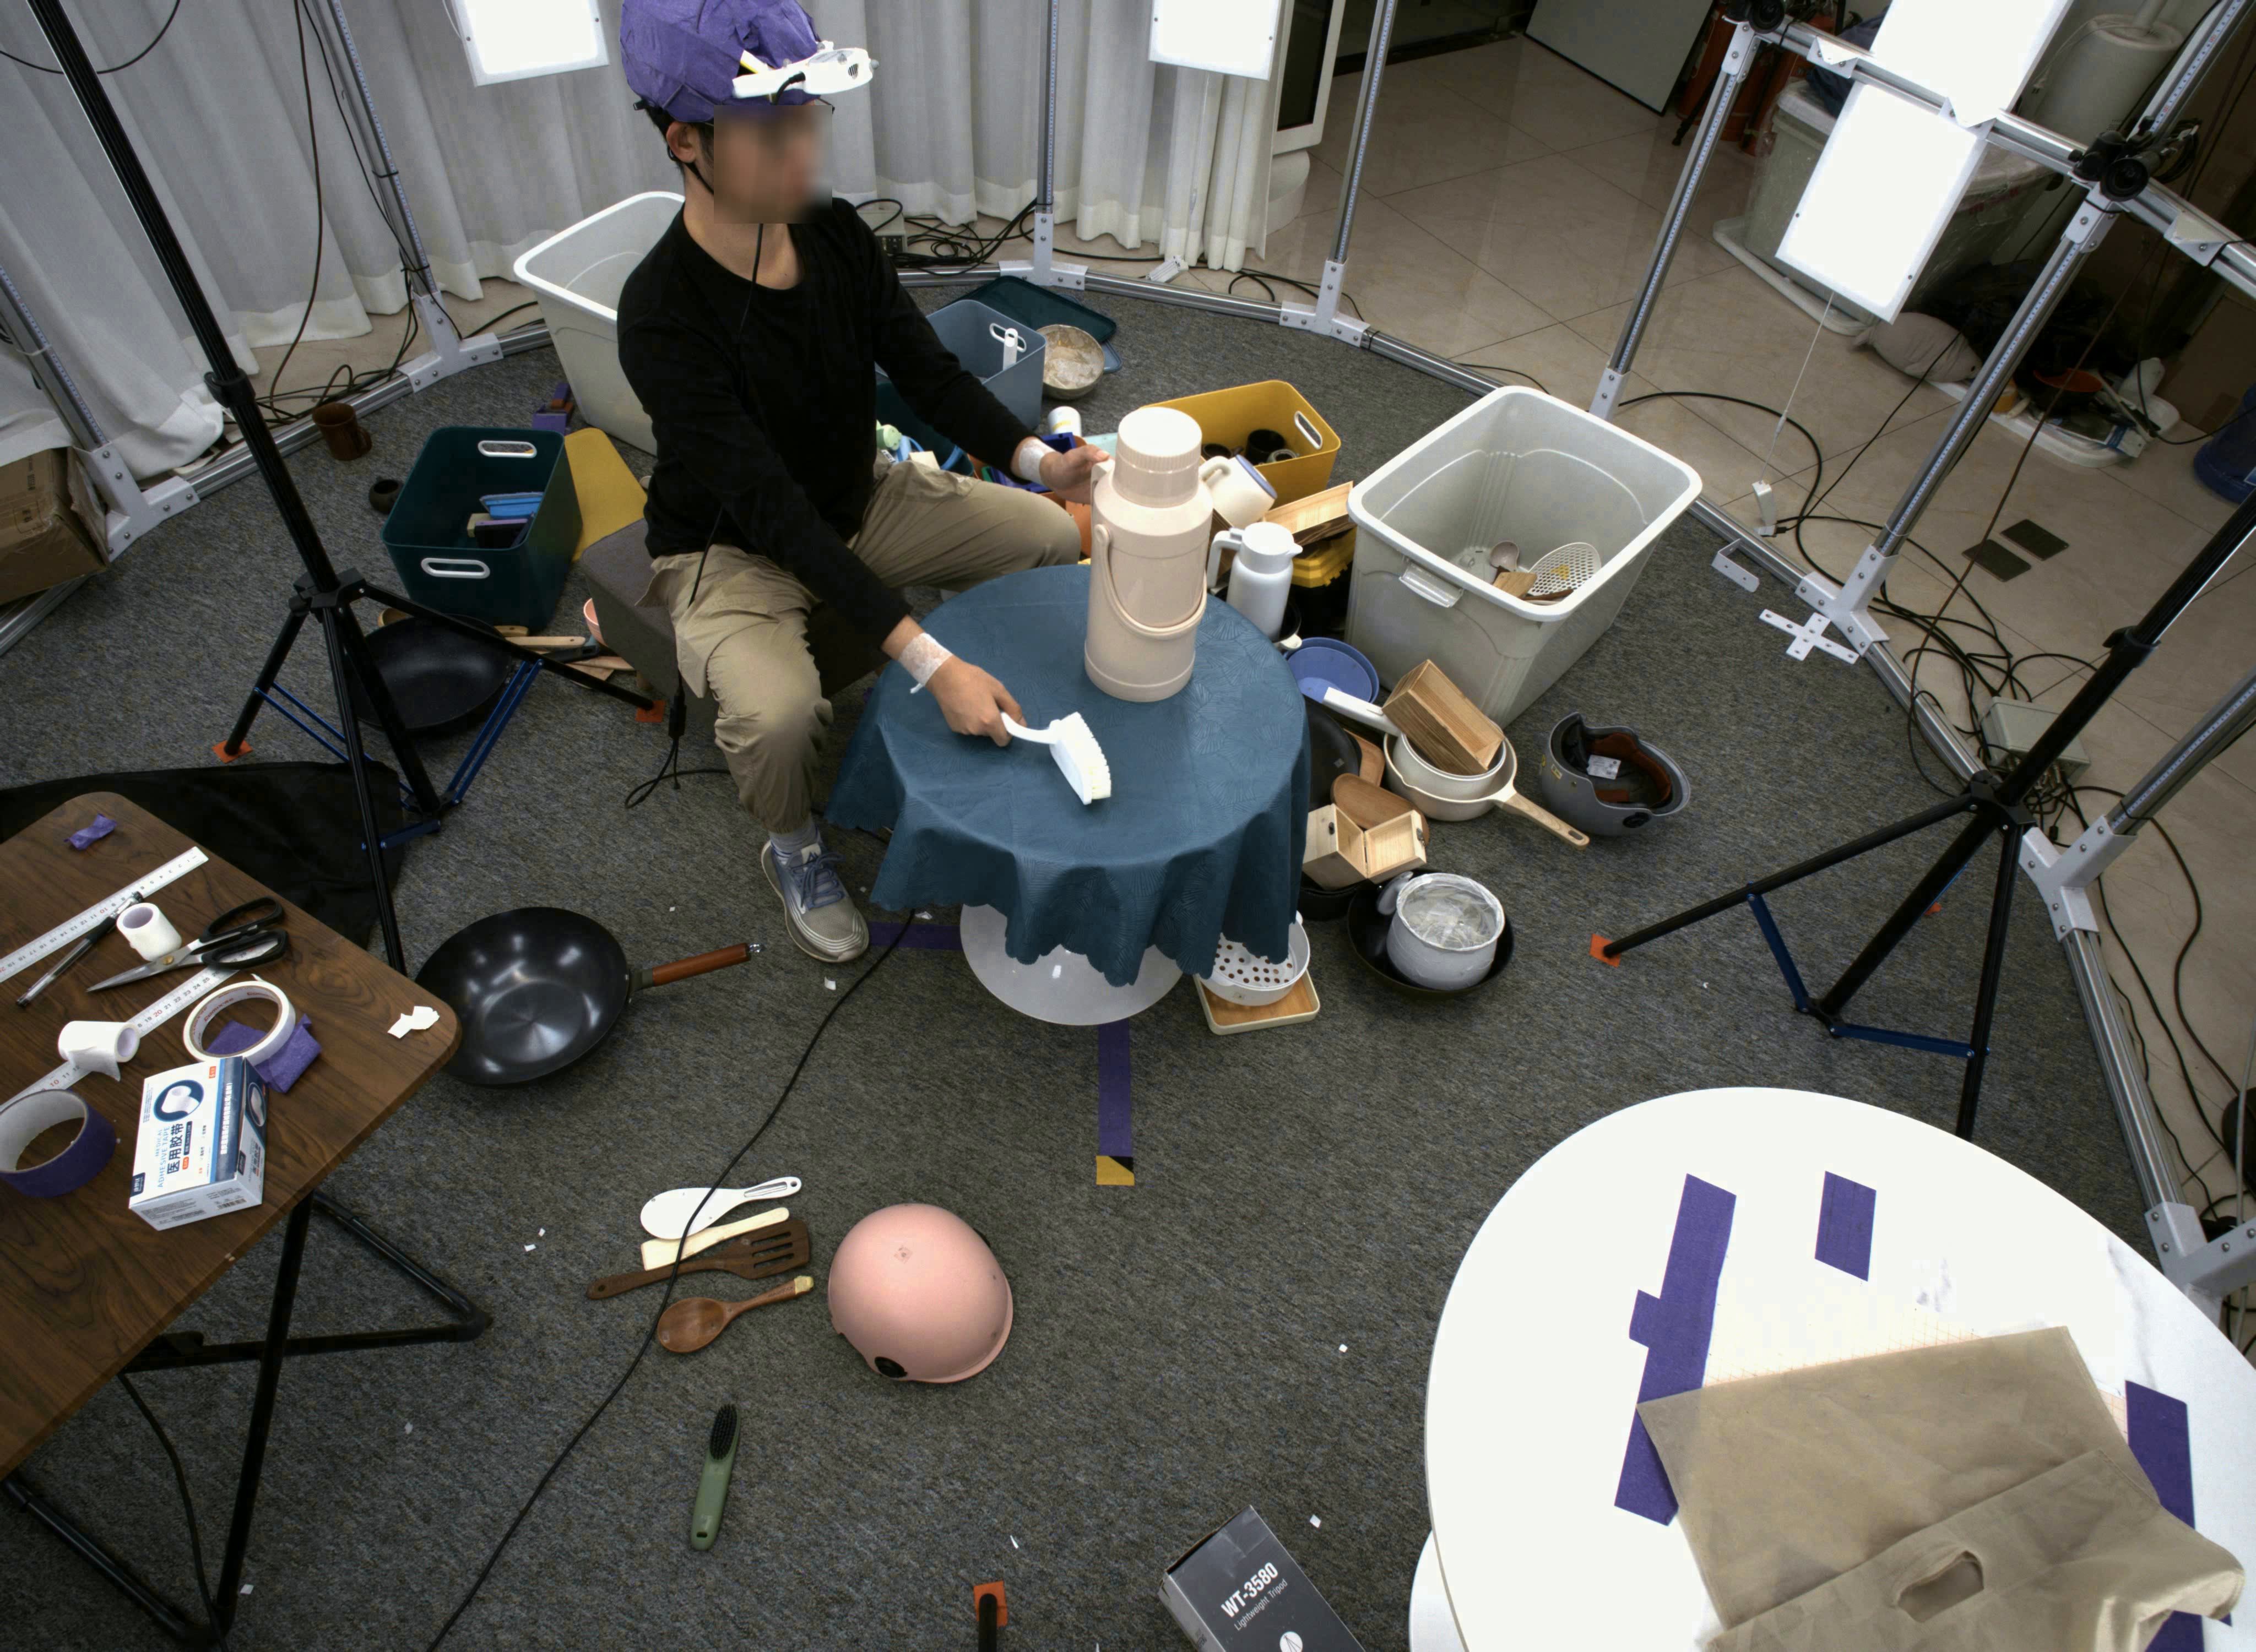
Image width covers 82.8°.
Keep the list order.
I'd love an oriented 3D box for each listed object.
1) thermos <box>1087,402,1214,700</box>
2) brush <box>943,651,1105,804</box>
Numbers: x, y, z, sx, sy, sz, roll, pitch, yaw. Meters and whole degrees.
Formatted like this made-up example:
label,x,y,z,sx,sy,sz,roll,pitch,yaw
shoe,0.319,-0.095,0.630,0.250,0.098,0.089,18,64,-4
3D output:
label,x,y,z,sx,sy,sz,roll,pitch,yaw
thermos,0.021,-0.373,1.739,0.176,0.396,0.211,-30,58,-25
brush,-0.128,-0.152,1.743,0.331,0.082,0.084,46,21,28
